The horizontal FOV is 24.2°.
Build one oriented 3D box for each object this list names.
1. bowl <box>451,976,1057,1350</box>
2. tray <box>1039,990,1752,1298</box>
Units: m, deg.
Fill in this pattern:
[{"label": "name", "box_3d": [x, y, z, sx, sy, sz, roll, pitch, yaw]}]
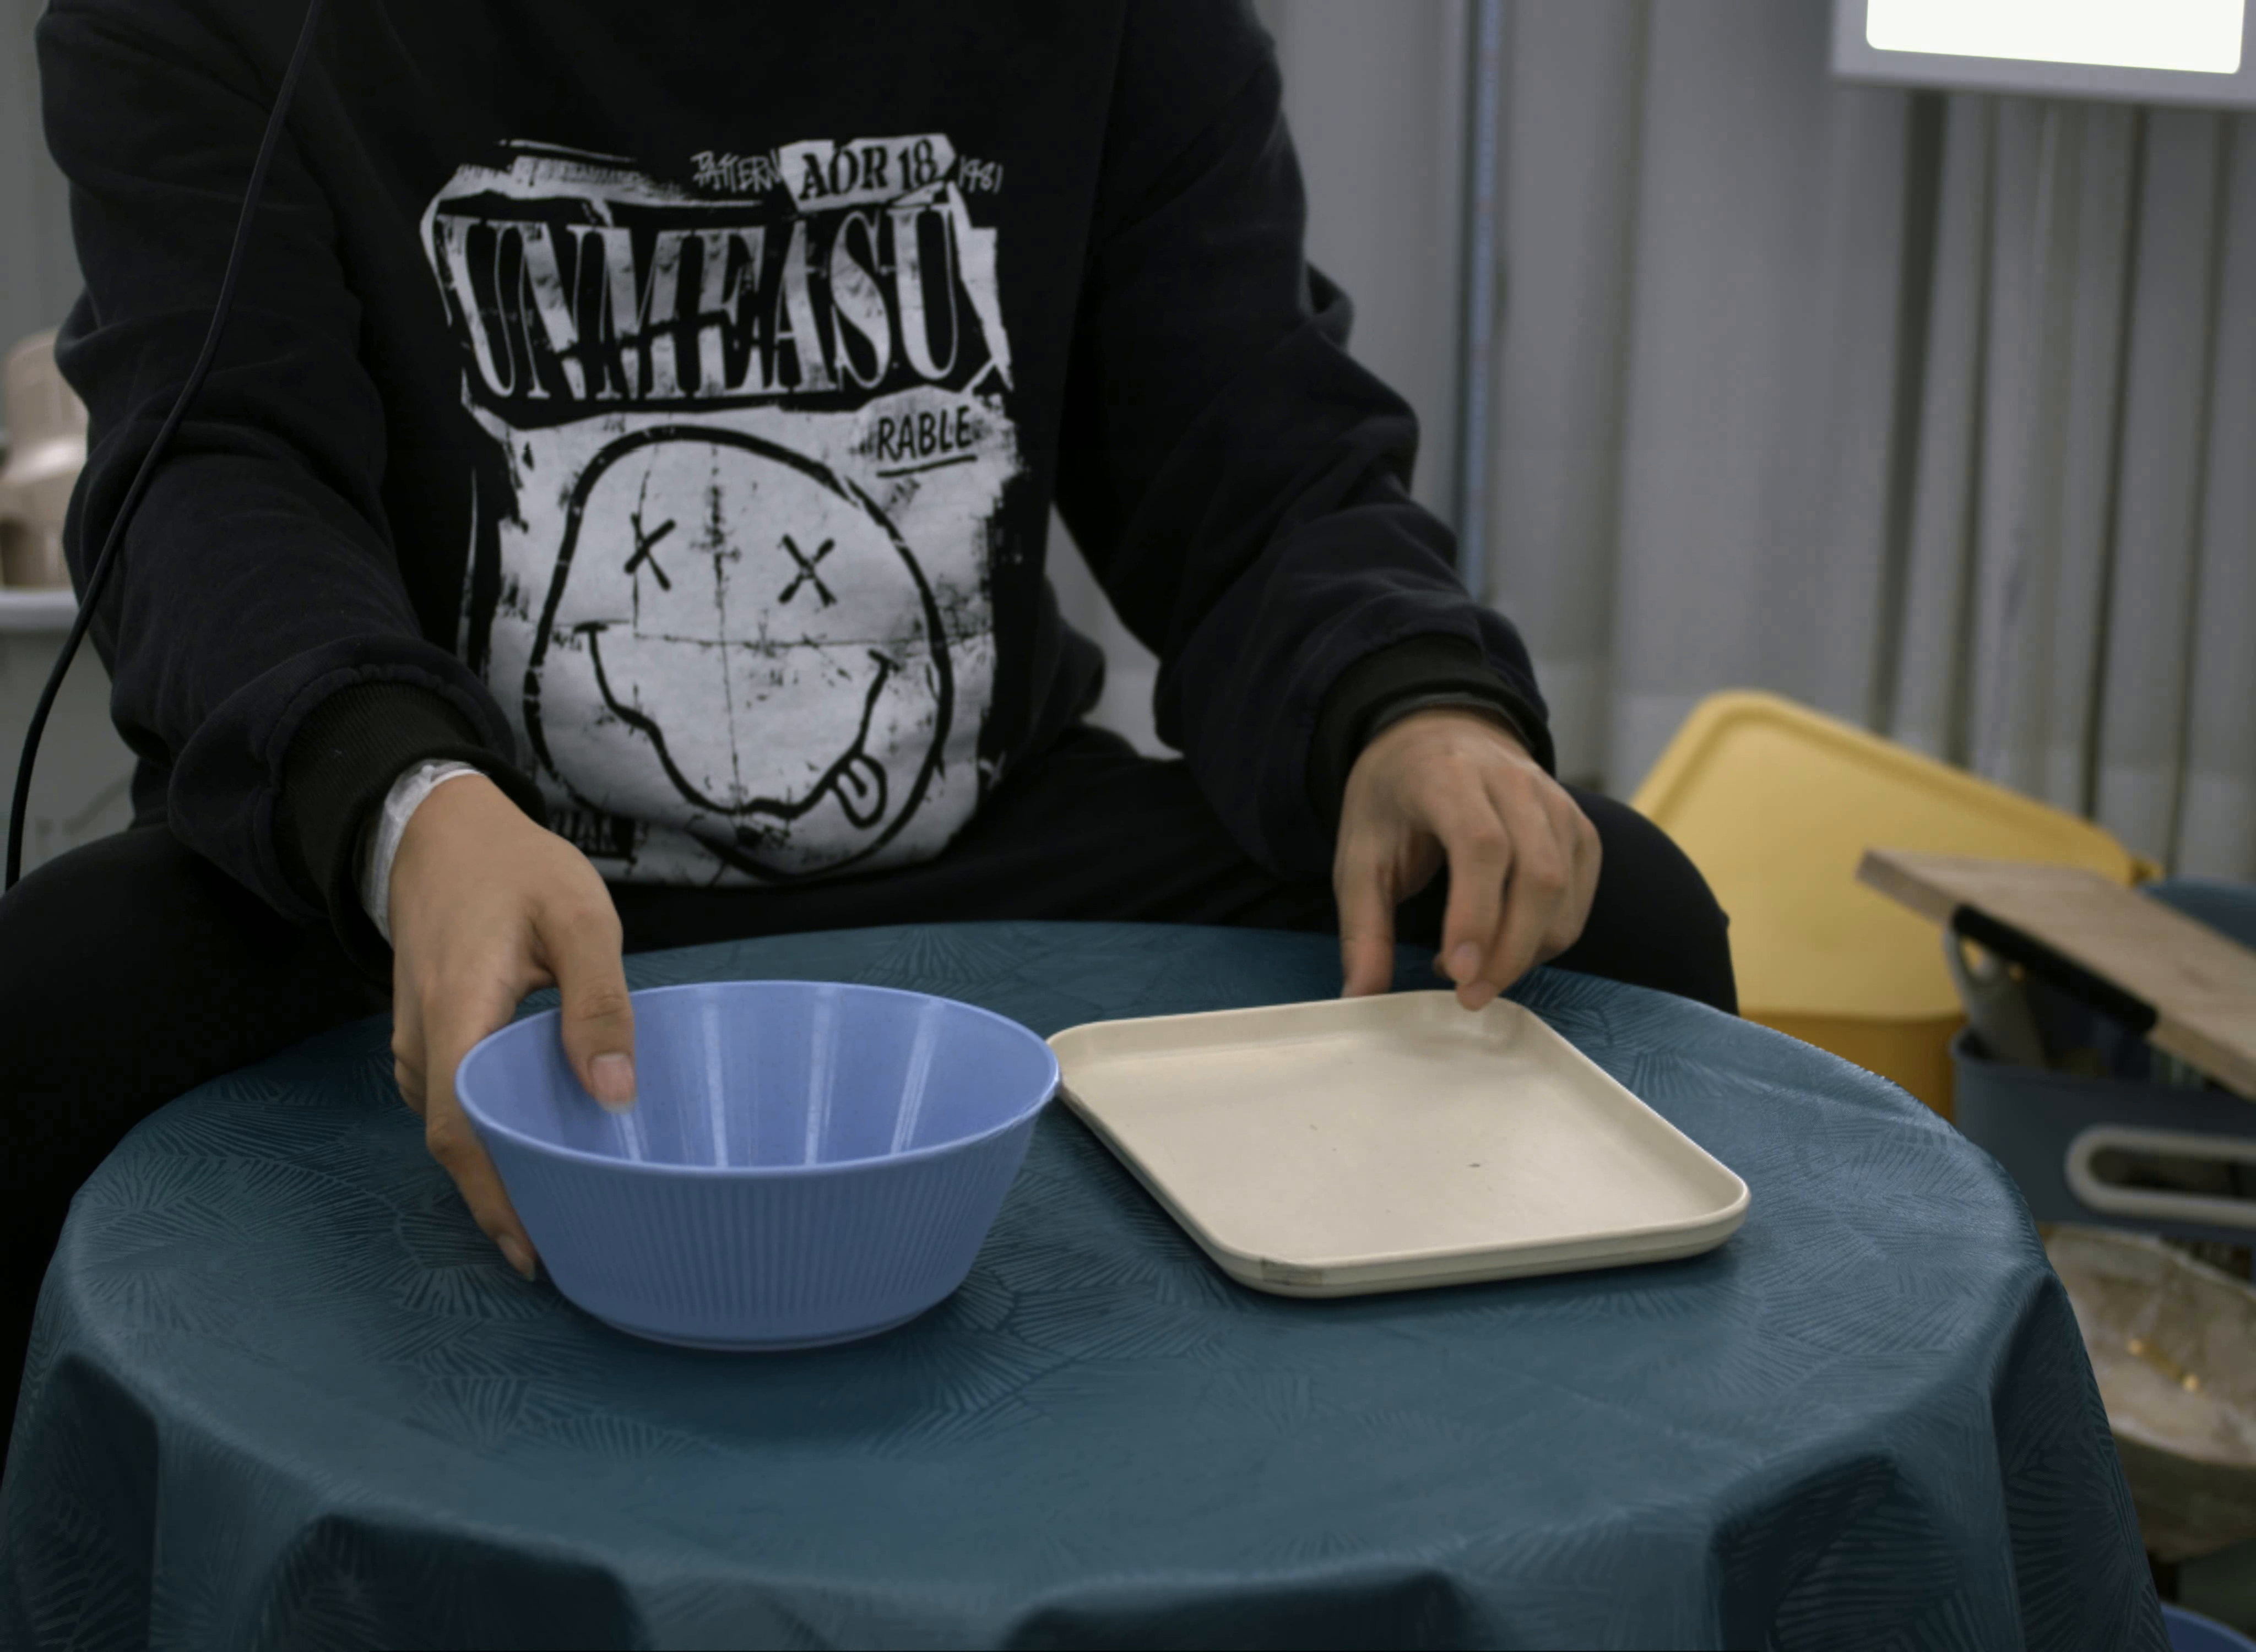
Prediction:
[{"label": "bowl", "box_3d": [-0.108, 0.101, 1.533, 0.175, 0.071, 0.175, 1, 17, 0]}, {"label": "tray", "box_3d": [0.079, 0.098, 1.648, 0.171, 0.017, 0.237, -4, 17, -17]}]
